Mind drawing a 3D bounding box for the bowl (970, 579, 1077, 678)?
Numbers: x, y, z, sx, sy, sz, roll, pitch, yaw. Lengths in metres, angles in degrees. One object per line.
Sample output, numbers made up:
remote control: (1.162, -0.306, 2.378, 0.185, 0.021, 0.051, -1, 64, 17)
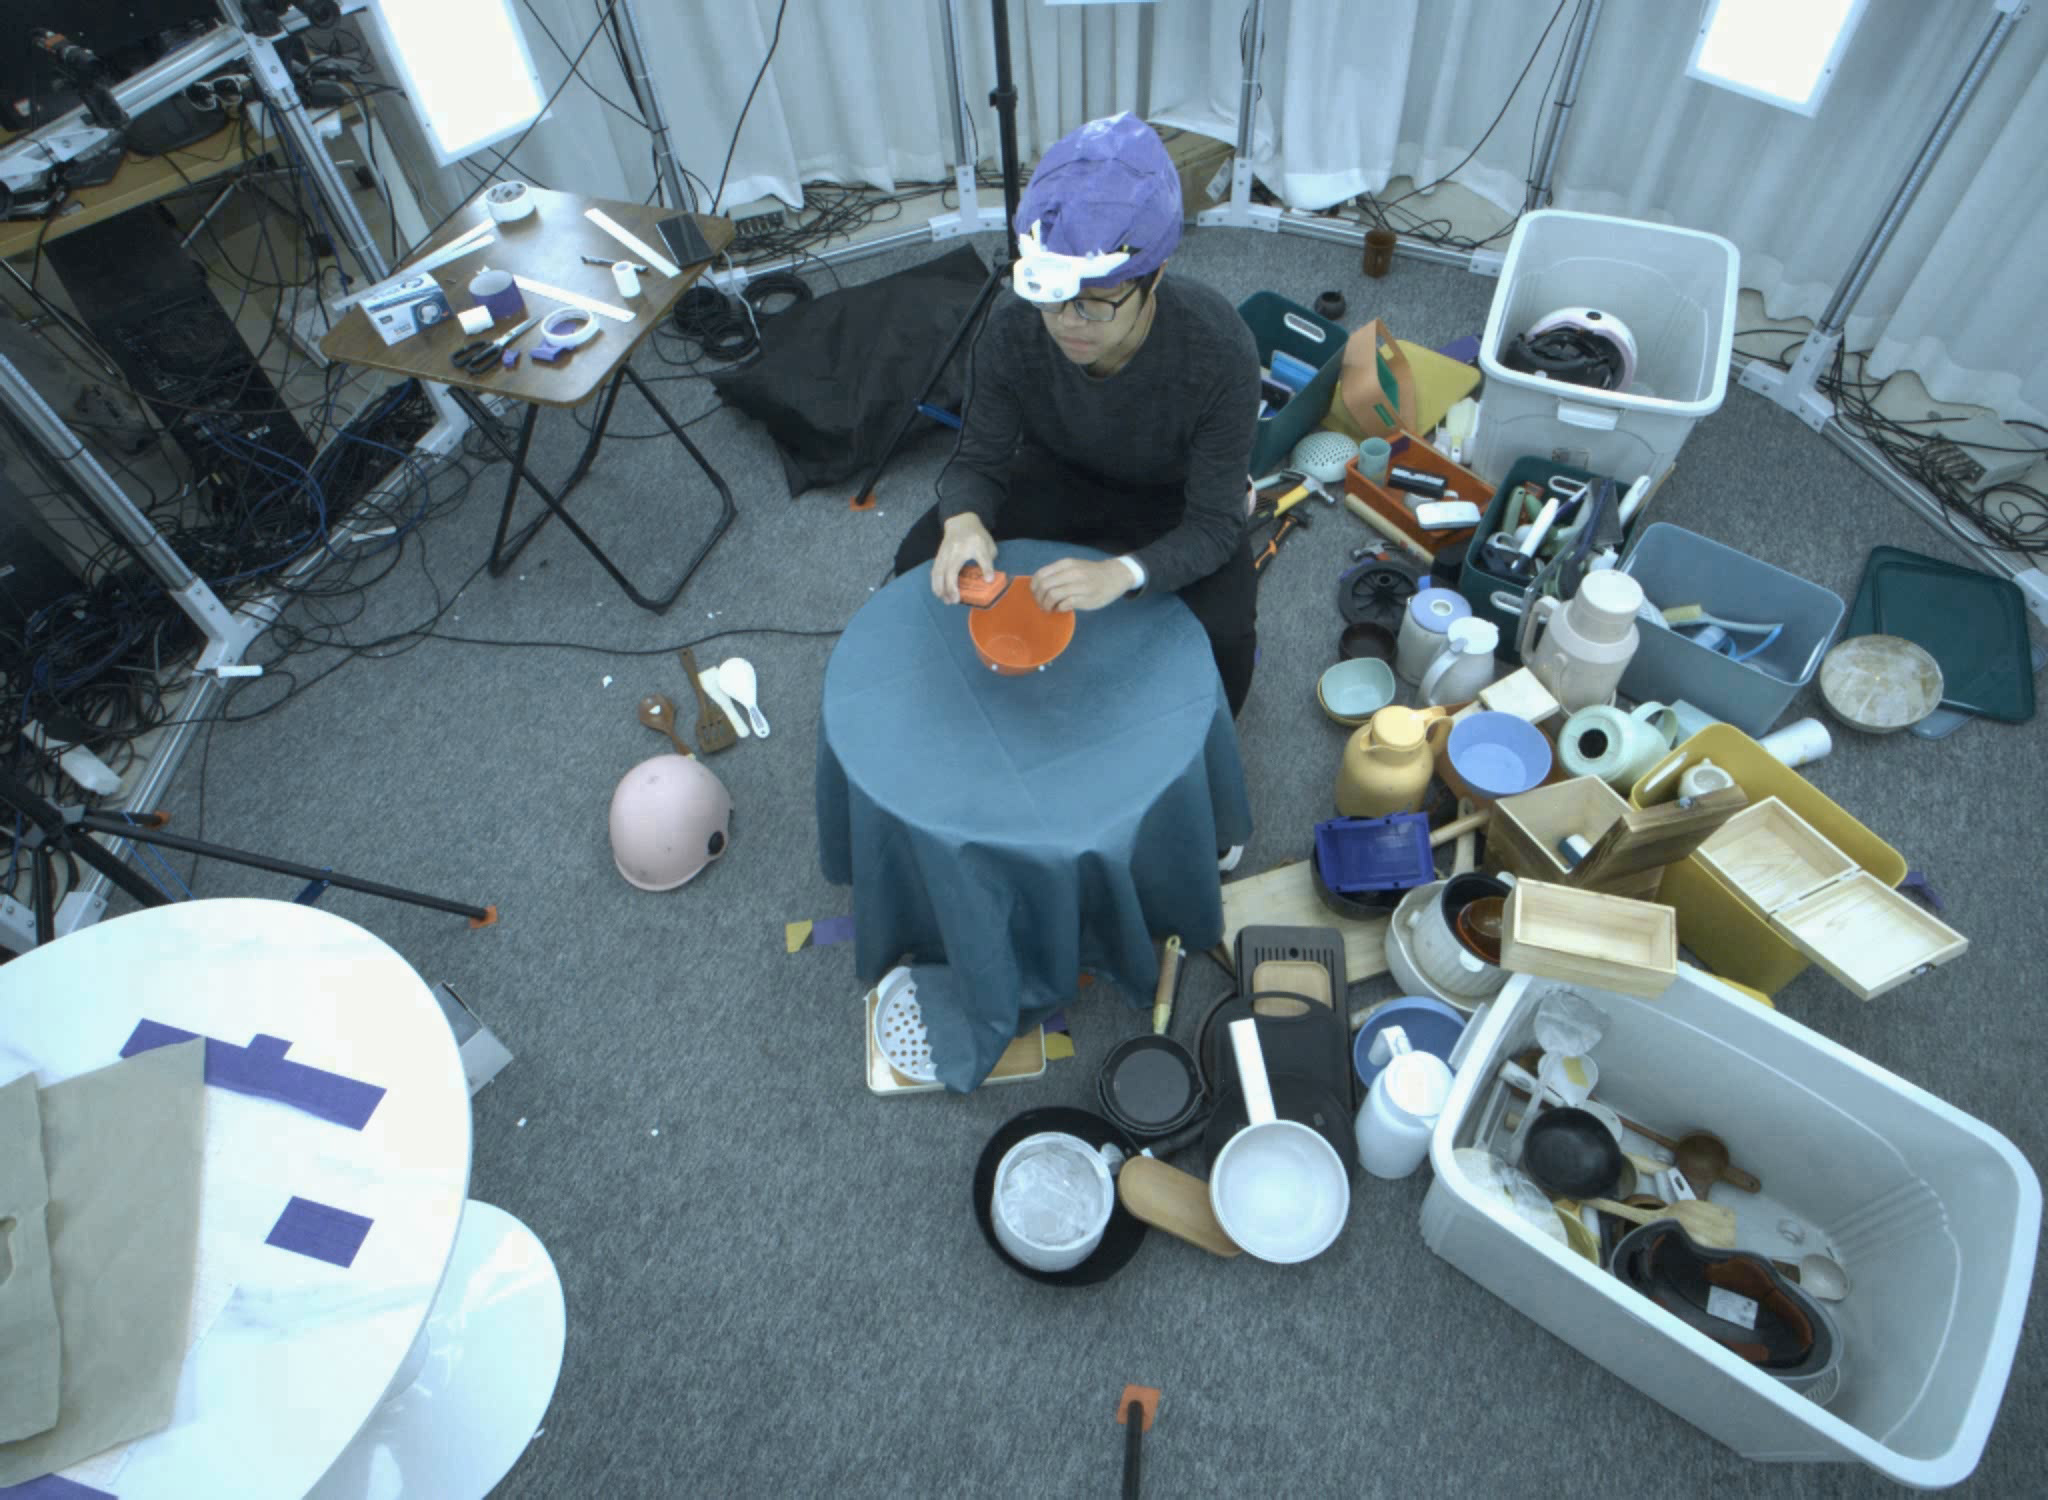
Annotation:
bowl: (-0.007, -0.159, 1.758, 0.149, 0.104, 0.146, 6, 62, -10)

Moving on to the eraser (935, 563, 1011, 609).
eraser: (-0.073, -0.234, 1.737, 0.105, 0.023, 0.059, 19, 61, 41)
